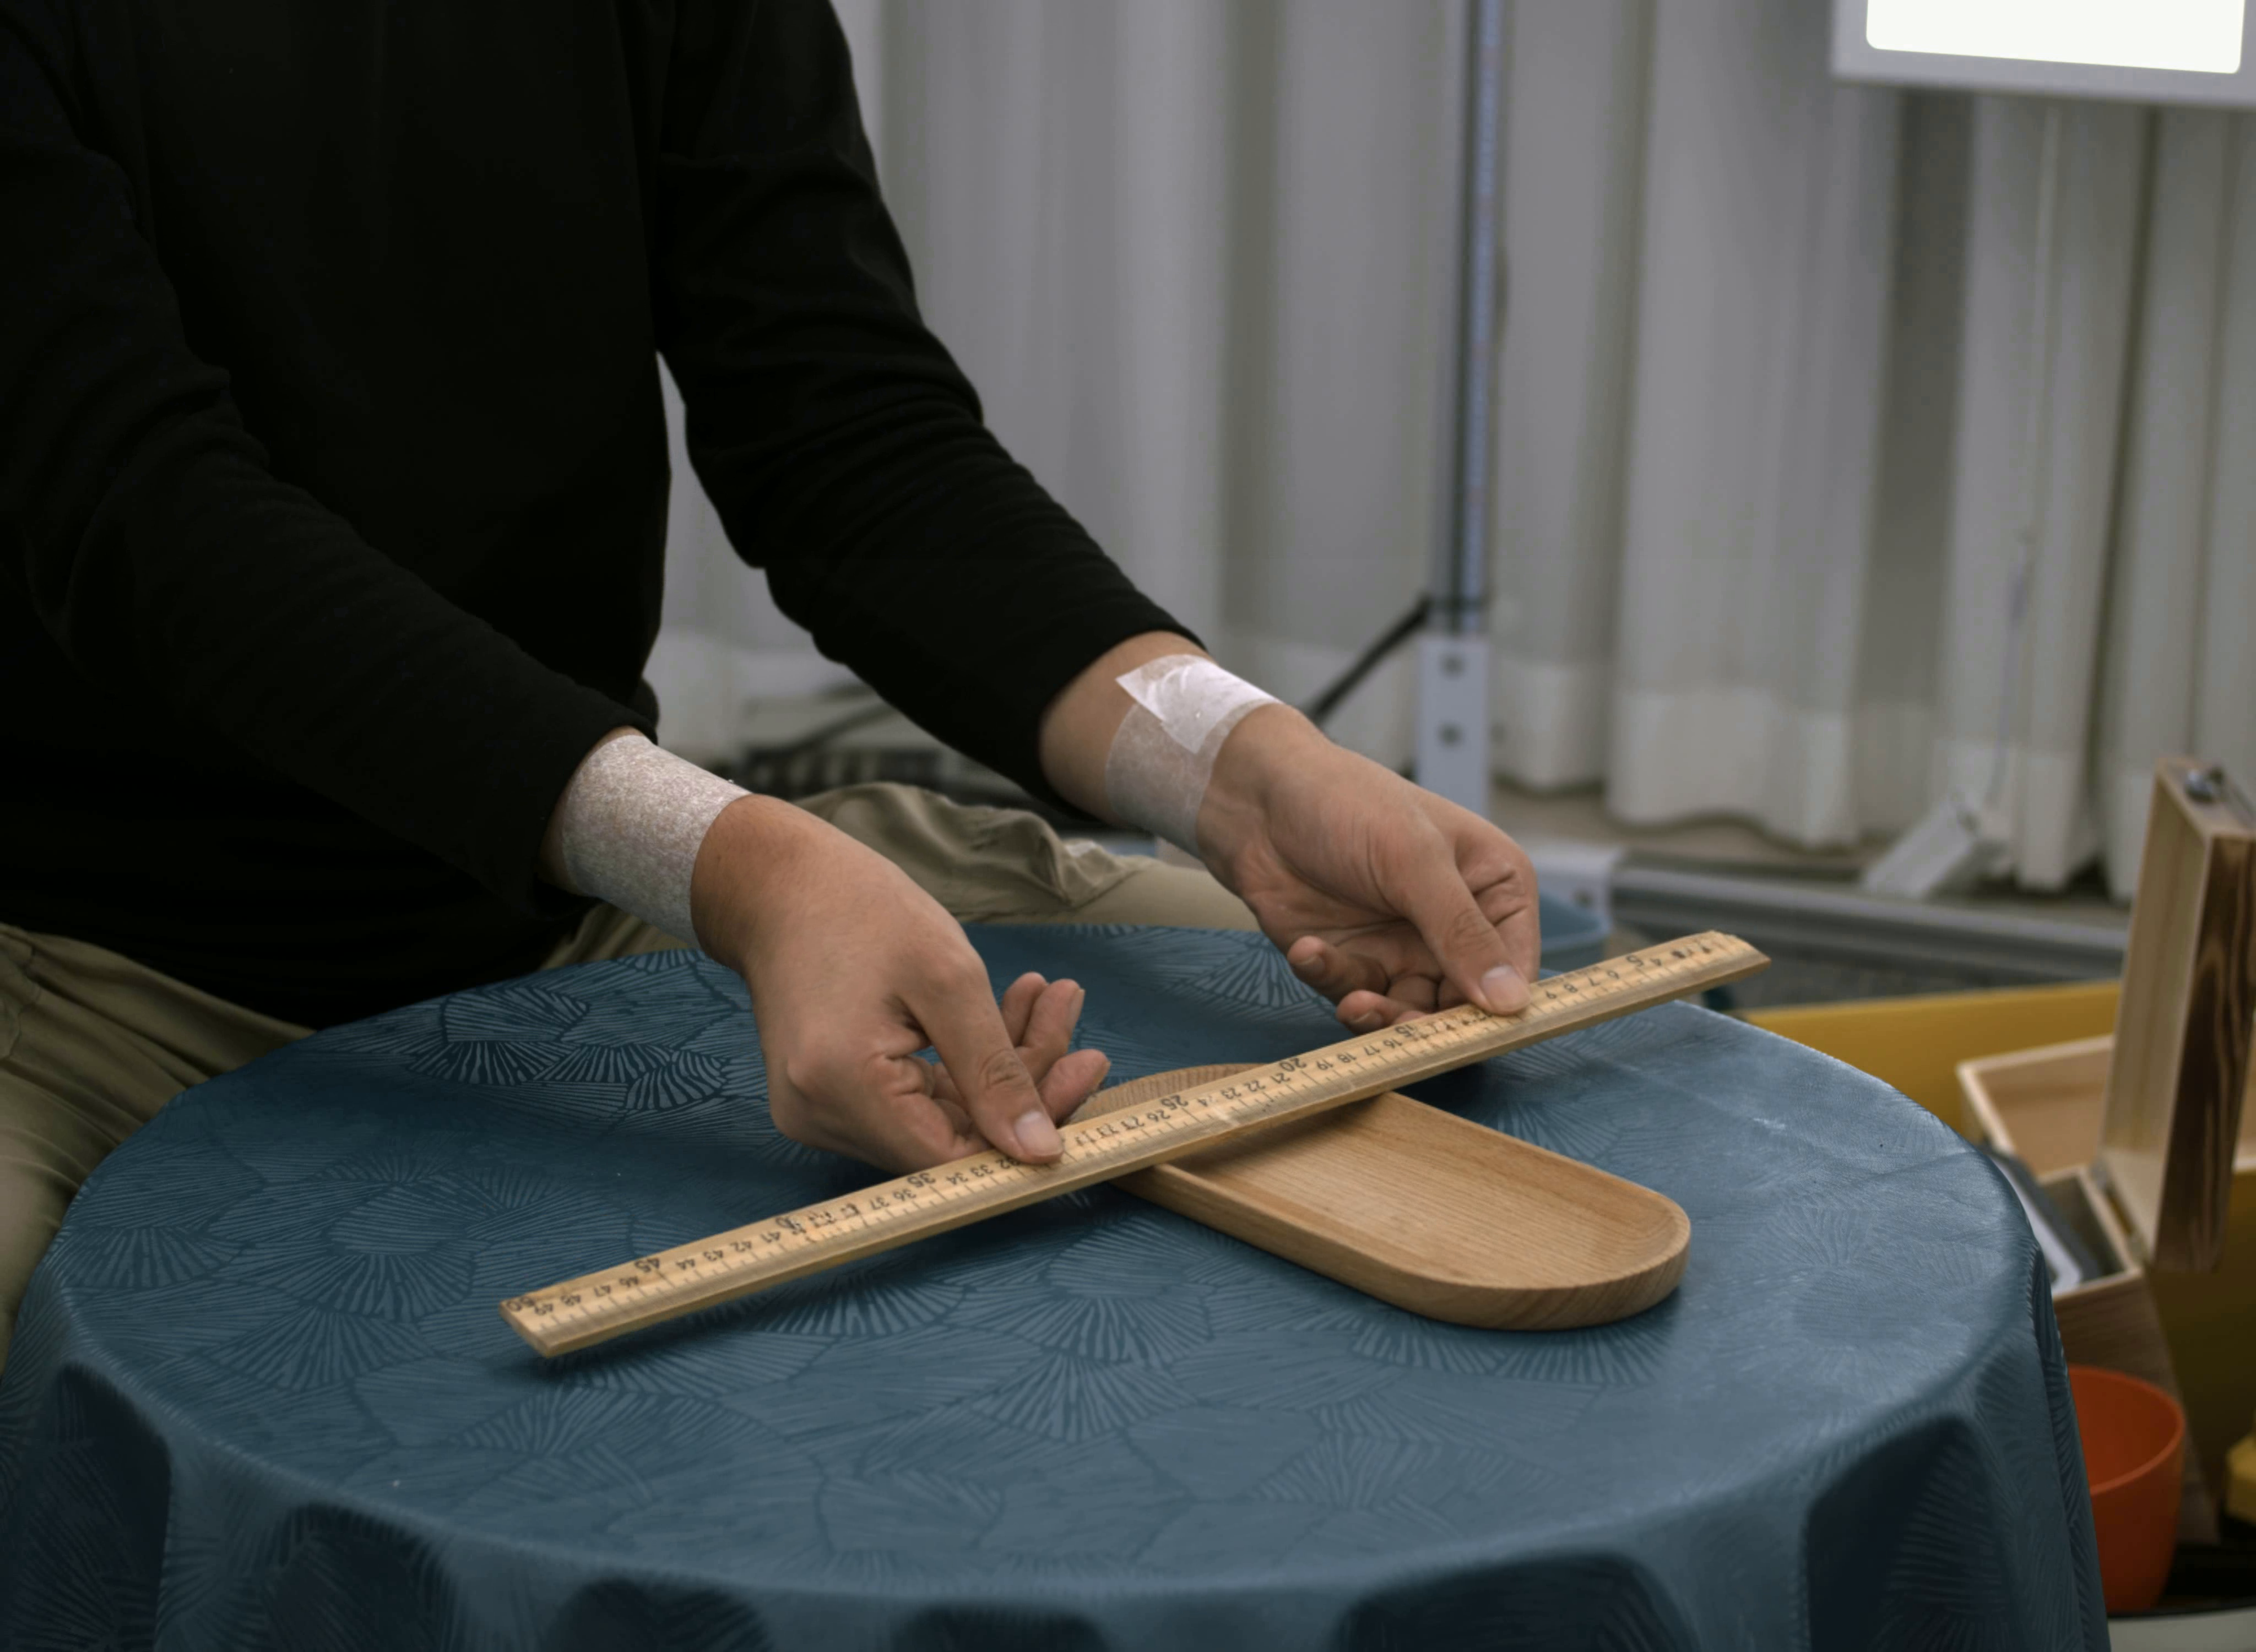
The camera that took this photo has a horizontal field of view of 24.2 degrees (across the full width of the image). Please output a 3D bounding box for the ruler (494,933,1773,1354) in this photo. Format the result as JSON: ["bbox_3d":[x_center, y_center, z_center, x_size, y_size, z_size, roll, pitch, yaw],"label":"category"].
[{"bbox_3d":[0.019,0.090,1.623,0.503,0.006,0.026,-14,38,-38],"label":"ruler"}]

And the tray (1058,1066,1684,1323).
[{"bbox_3d":[0.071,0.110,1.599,0.102,0.020,0.228,-12,18,-39],"label":"tray"}]
